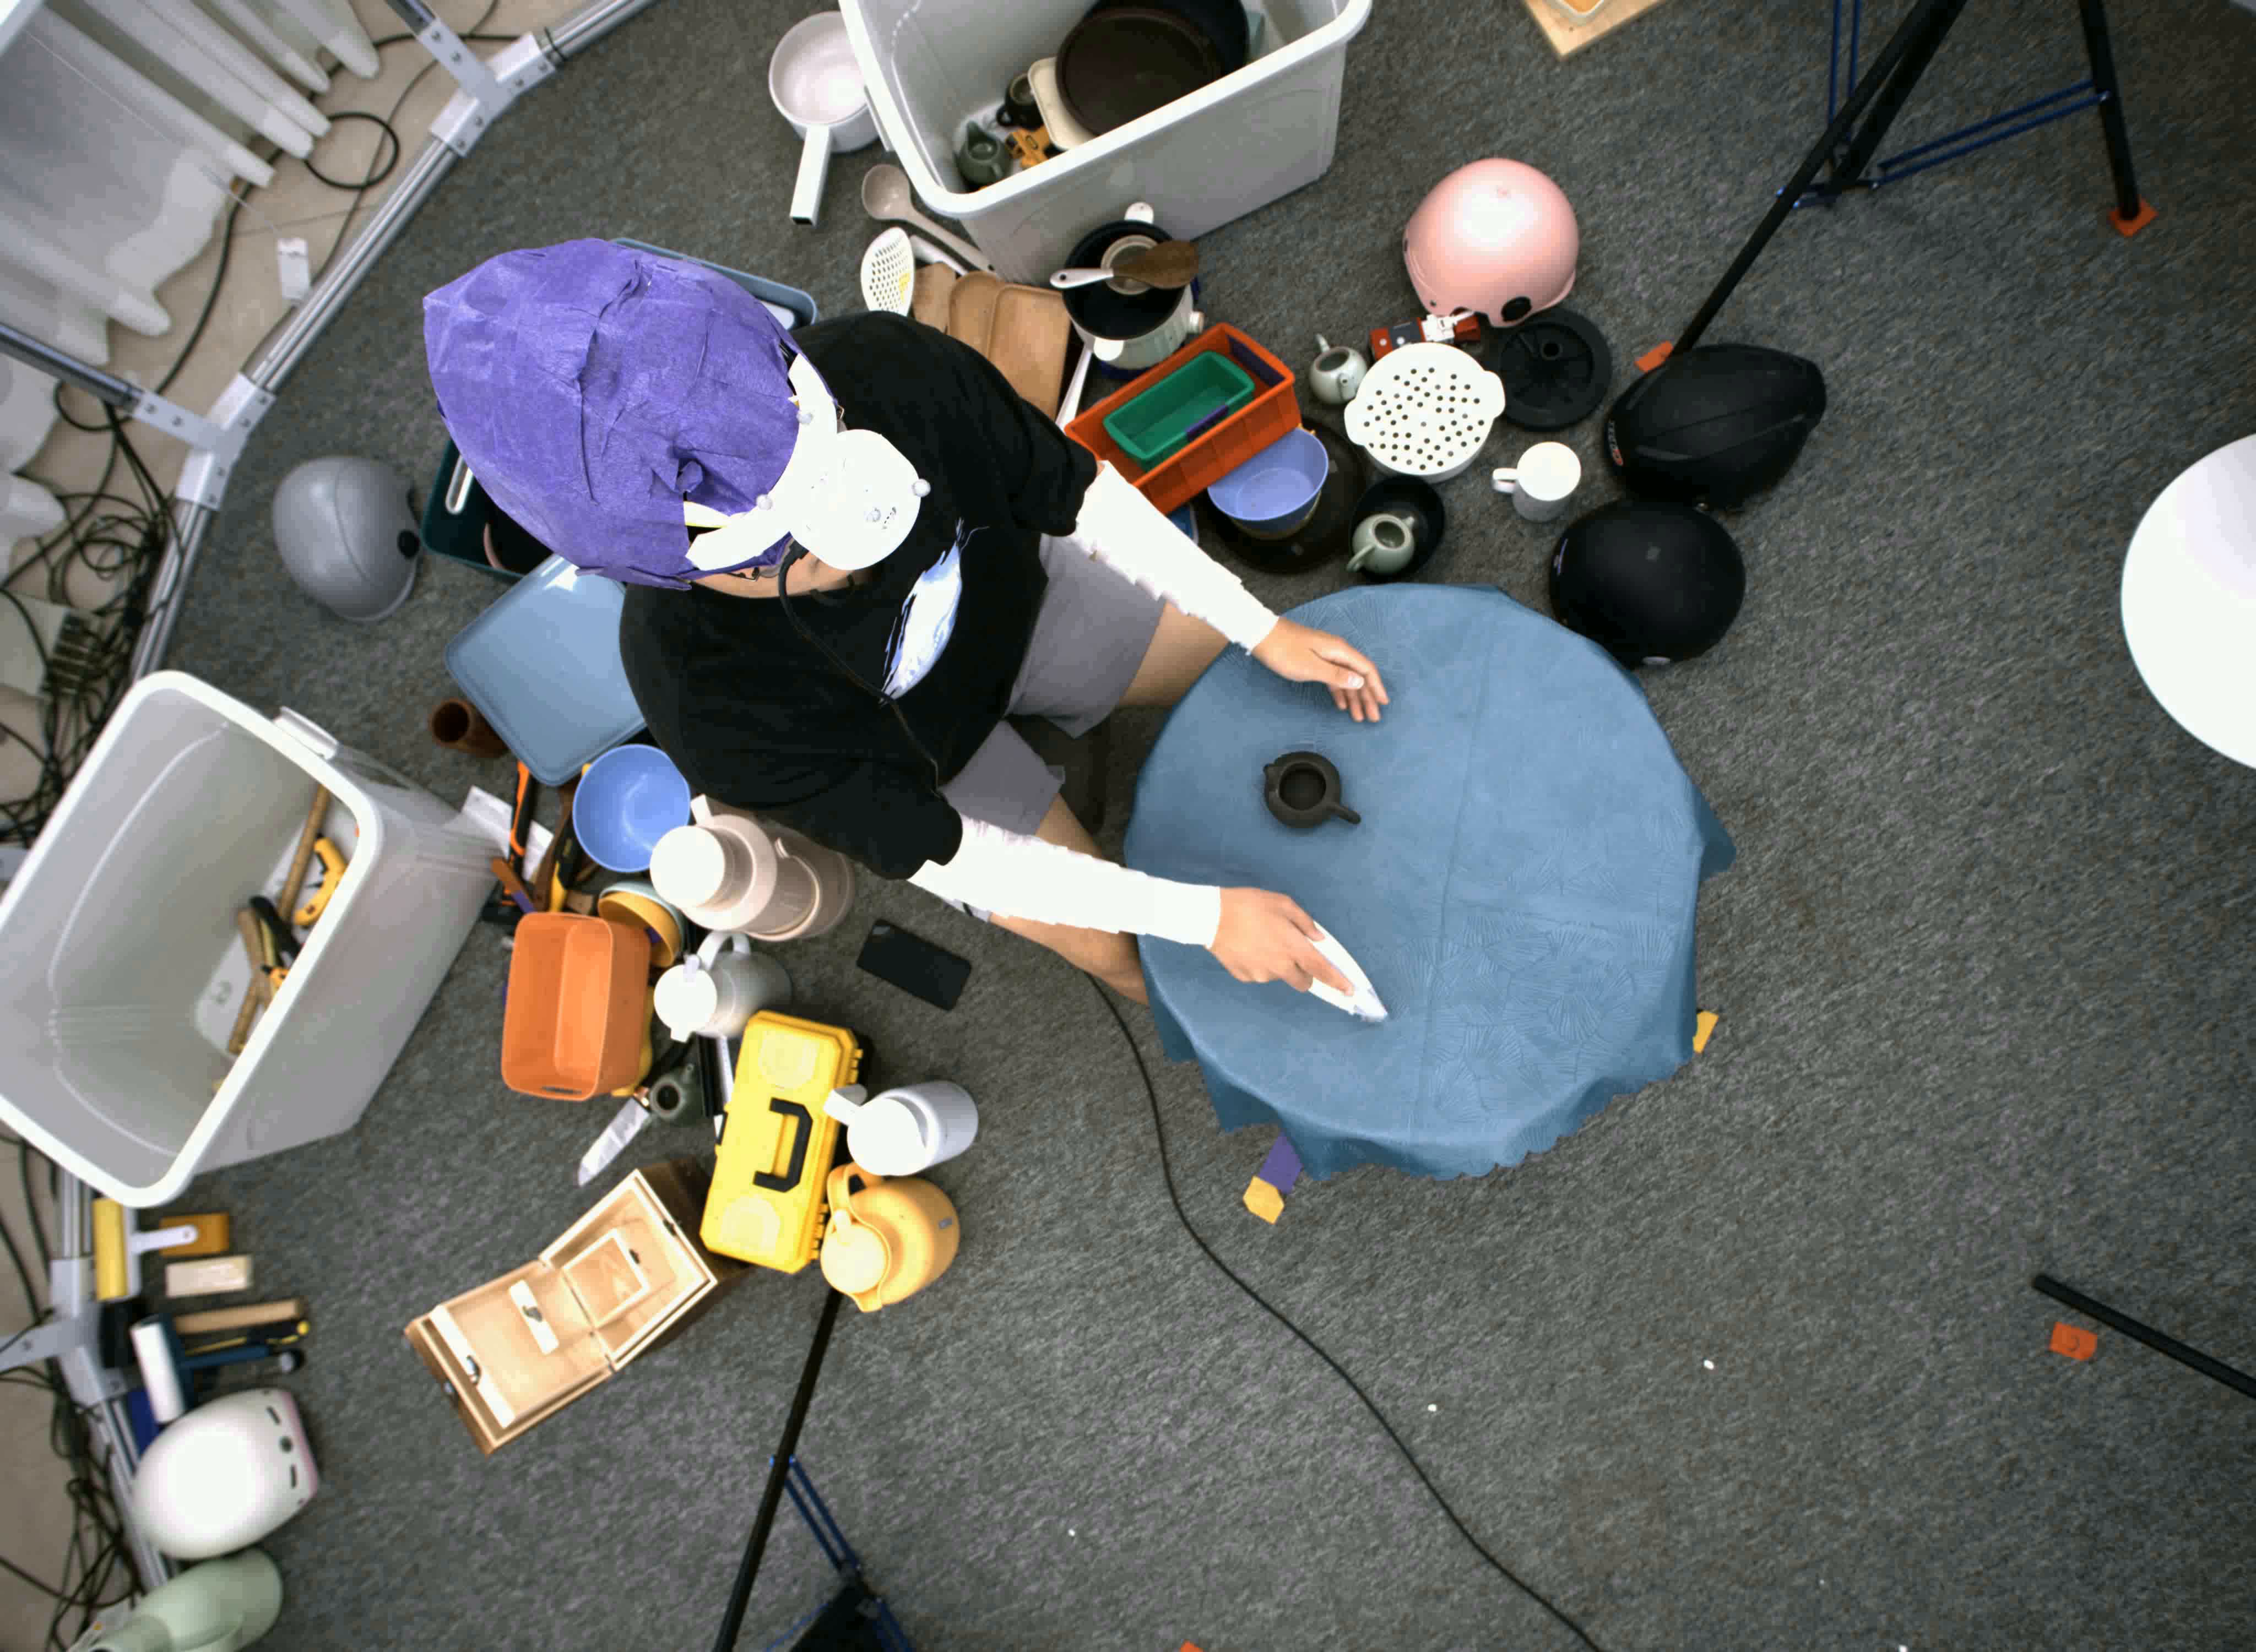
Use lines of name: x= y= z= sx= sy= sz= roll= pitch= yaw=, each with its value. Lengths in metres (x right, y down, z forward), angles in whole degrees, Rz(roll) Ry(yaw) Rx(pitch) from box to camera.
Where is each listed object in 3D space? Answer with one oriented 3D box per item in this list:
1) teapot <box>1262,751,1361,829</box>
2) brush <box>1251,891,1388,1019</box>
teapot: x=0.194 y=-0.033 z=1.453 sx=0.114 sy=0.053 sz=0.083 roll=31 pitch=91 yaw=13
brush: x=0.200 y=0.139 z=1.422 sx=0.175 sy=0.094 sz=0.062 roll=43 pitch=96 yaw=9
